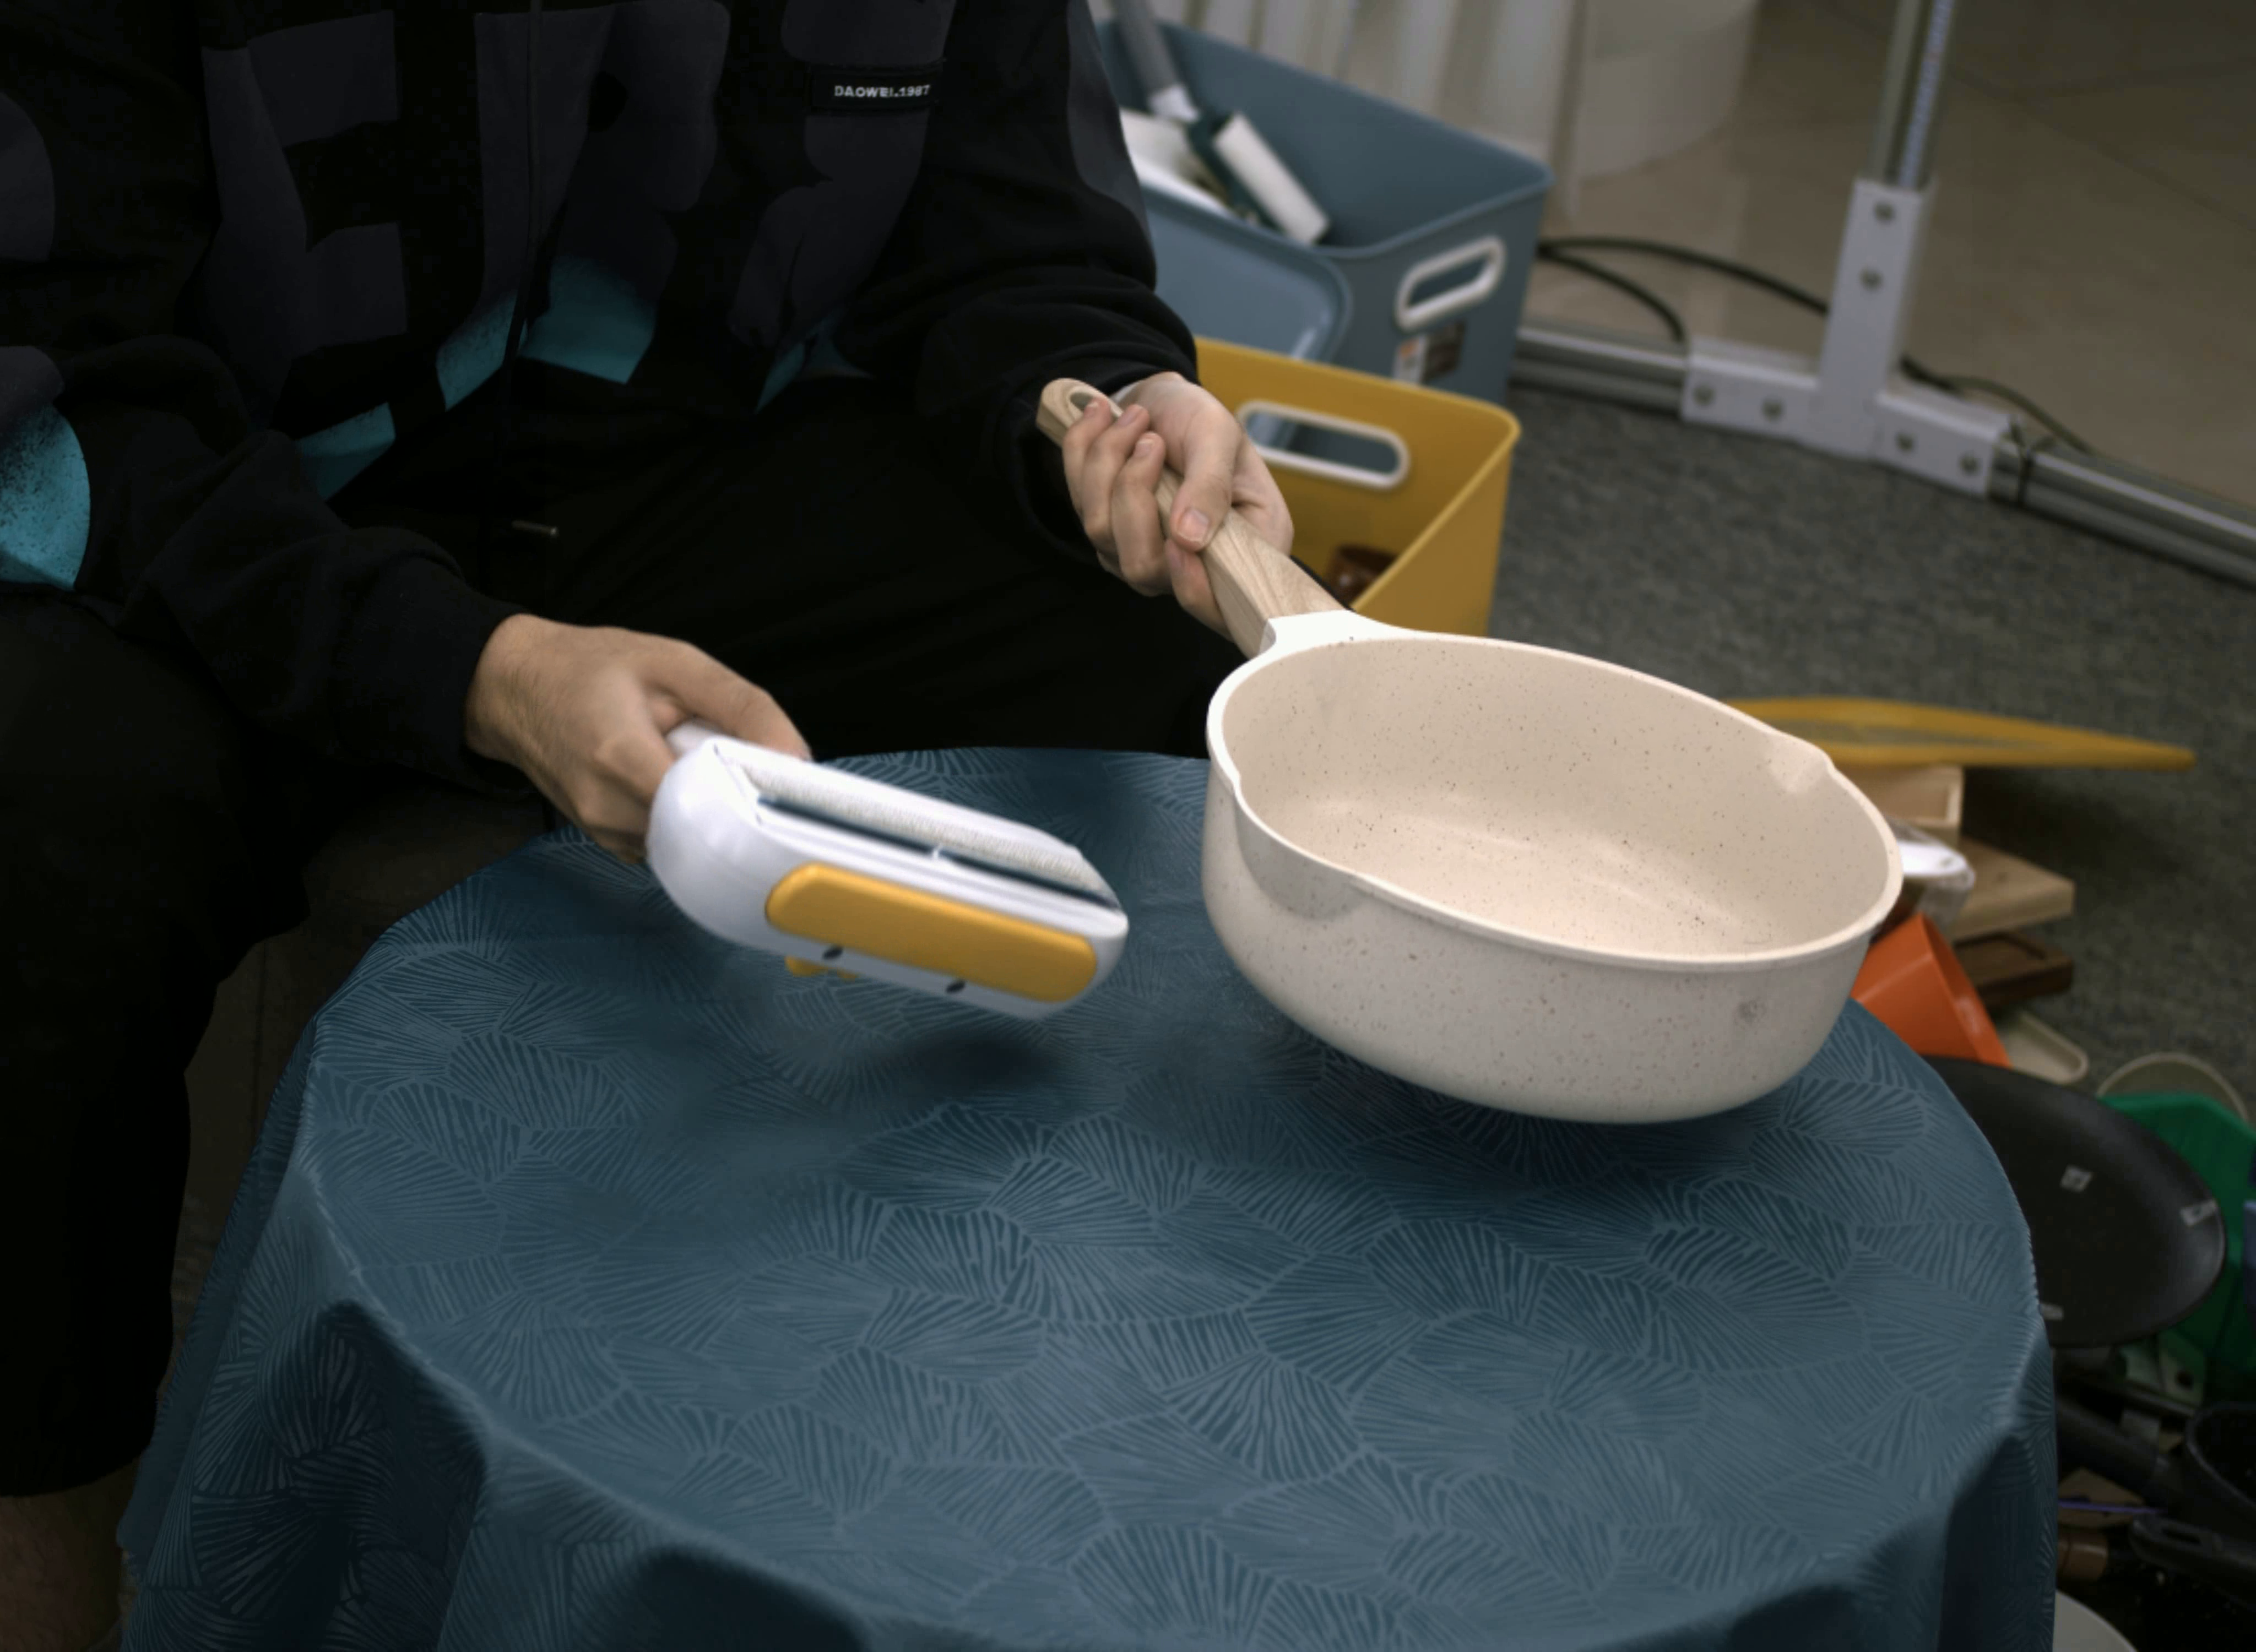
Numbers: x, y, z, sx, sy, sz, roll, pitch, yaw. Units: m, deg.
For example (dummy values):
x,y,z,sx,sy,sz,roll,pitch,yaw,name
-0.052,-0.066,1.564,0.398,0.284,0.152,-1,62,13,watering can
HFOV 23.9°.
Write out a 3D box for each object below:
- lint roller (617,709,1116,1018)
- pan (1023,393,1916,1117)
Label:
x,y,z,sx,sy,sz,roll,pitch,yaw,name
-0.117,-0.006,1.856,0.191,0.074,0.194,14,20,-37,lint roller
0.092,-0.028,1.942,0.261,0.102,0.439,-11,33,-37,pan
